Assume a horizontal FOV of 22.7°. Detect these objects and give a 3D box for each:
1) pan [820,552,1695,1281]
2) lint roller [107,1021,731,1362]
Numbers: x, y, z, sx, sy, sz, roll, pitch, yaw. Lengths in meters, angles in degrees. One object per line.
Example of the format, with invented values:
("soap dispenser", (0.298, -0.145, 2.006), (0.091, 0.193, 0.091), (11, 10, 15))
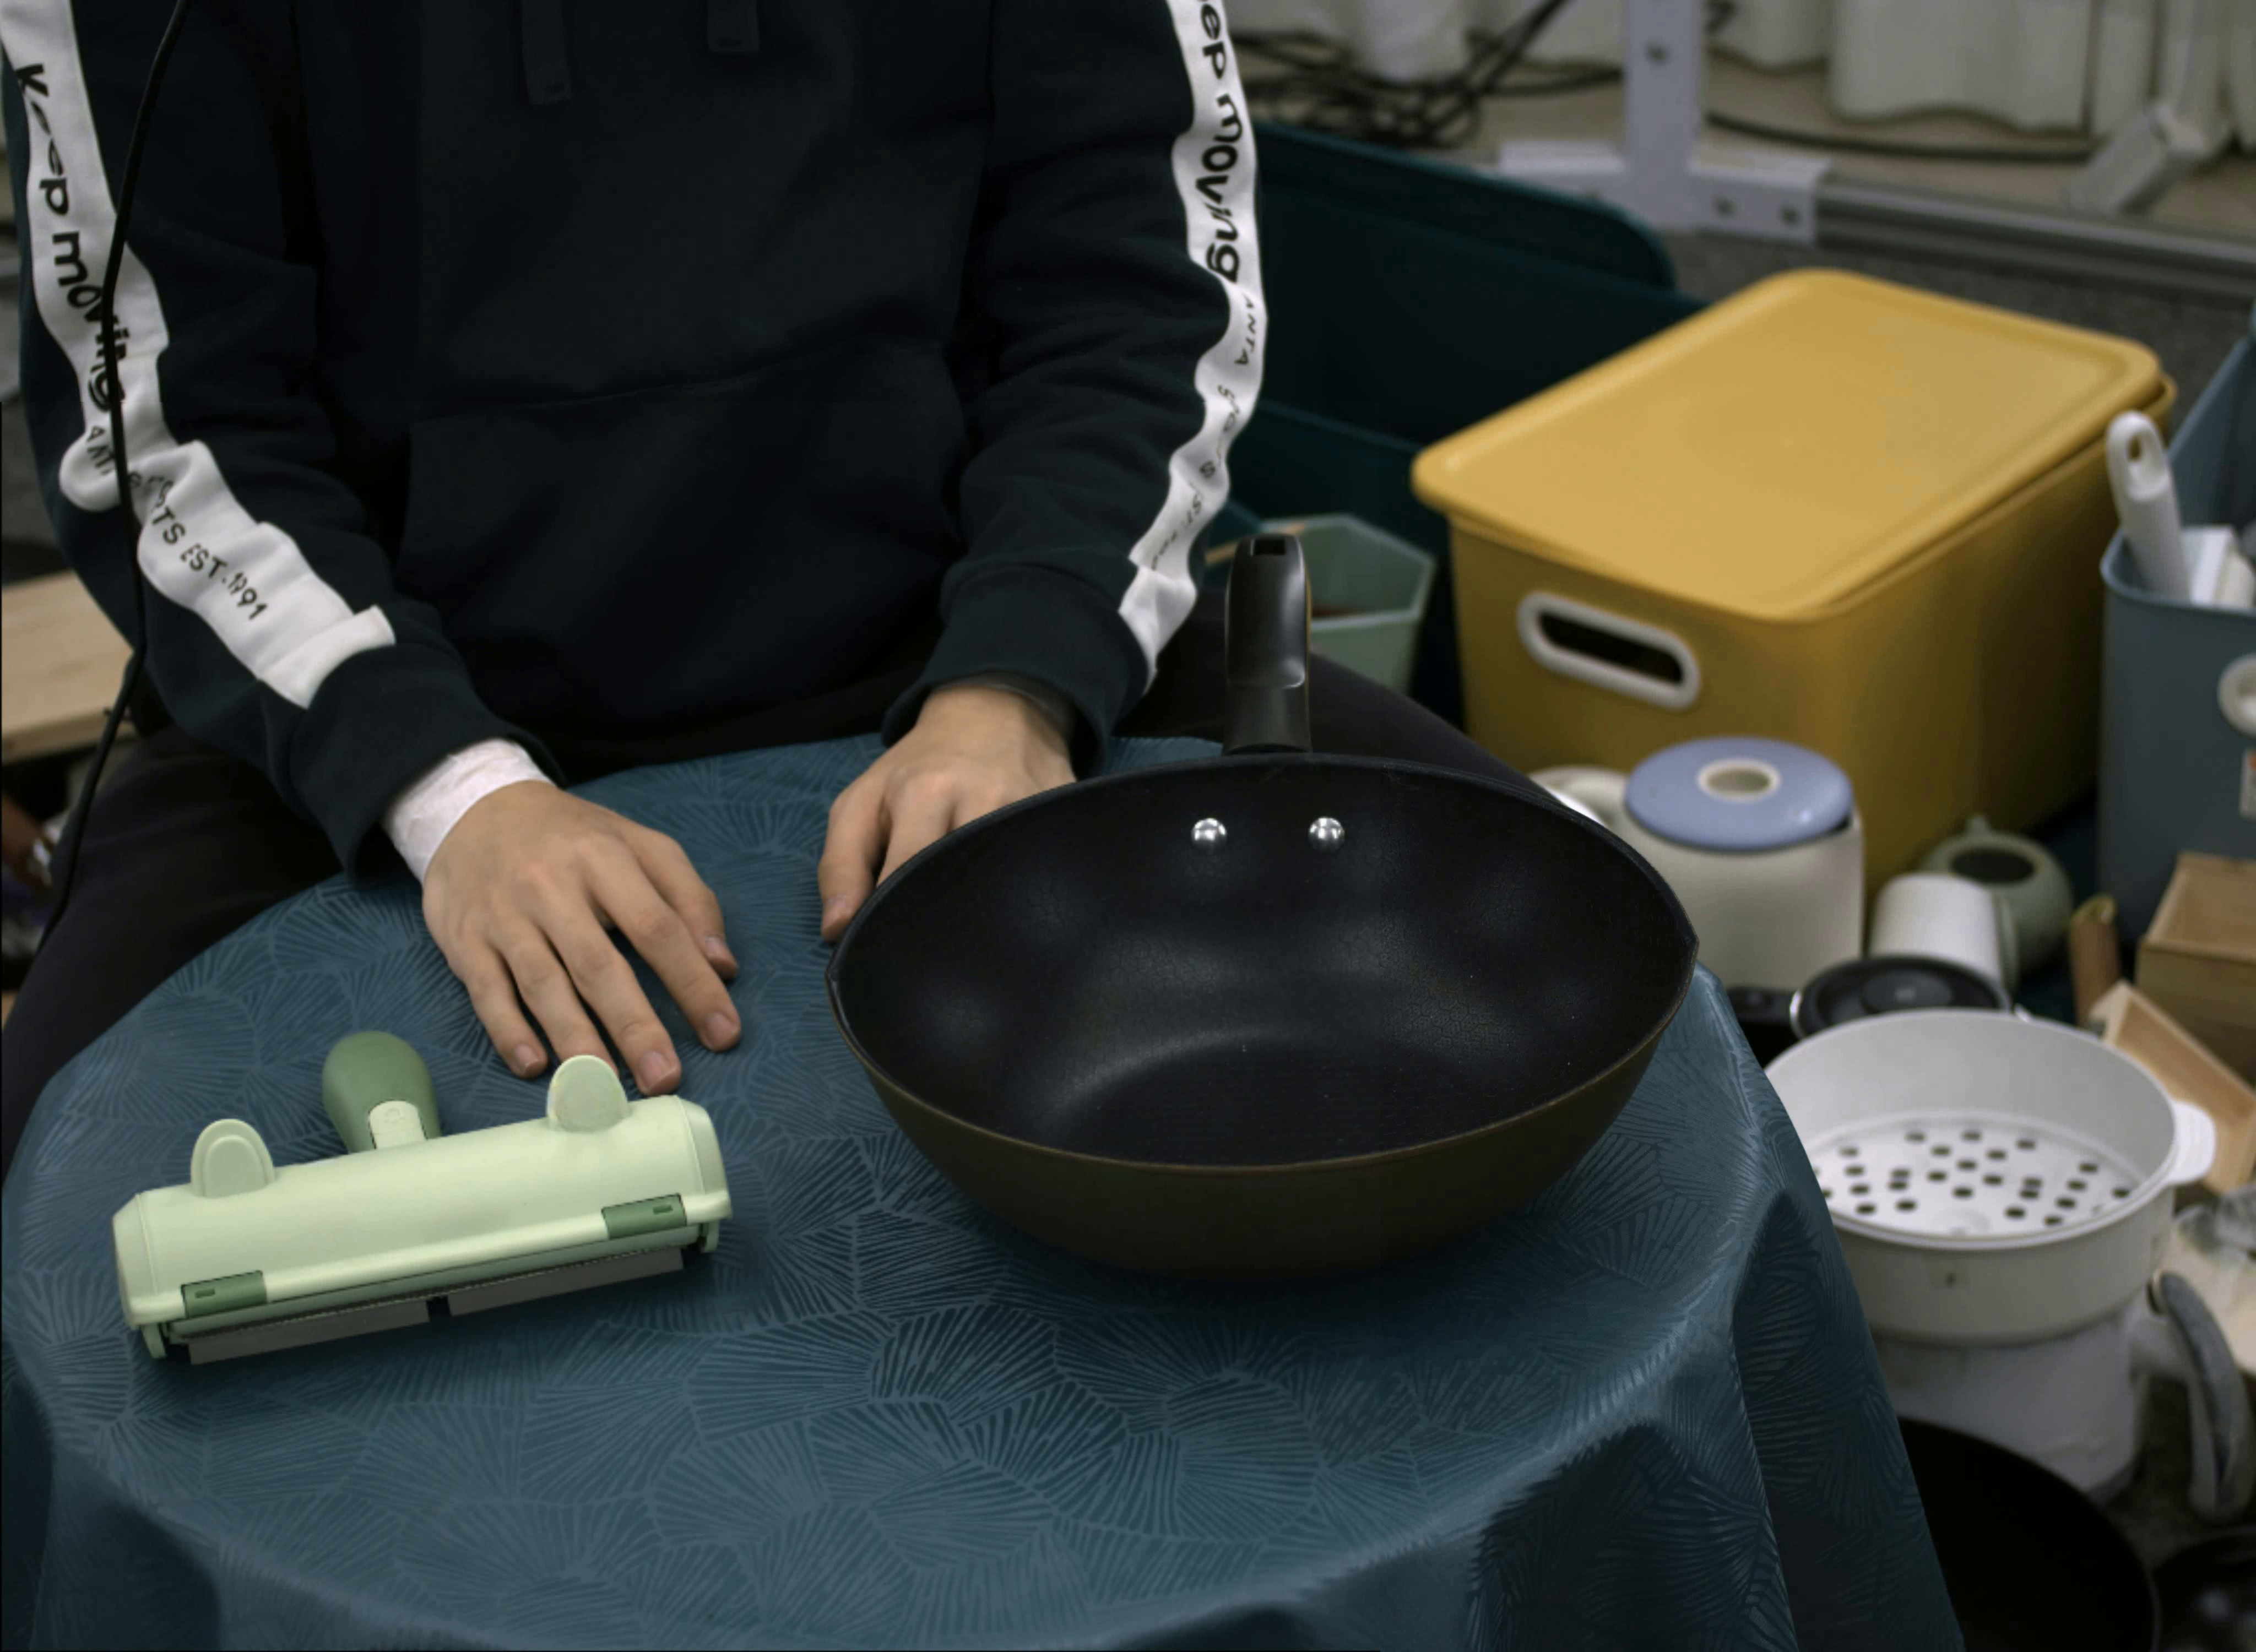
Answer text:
("pan", (0.046, 0.033, 1.938), (0.286, 0.086, 0.470), (-2, 26, 3))
("lint roller", (-0.243, 0.095, 1.854), (0.198, 0.081, 0.185), (-10, 33, -13))
